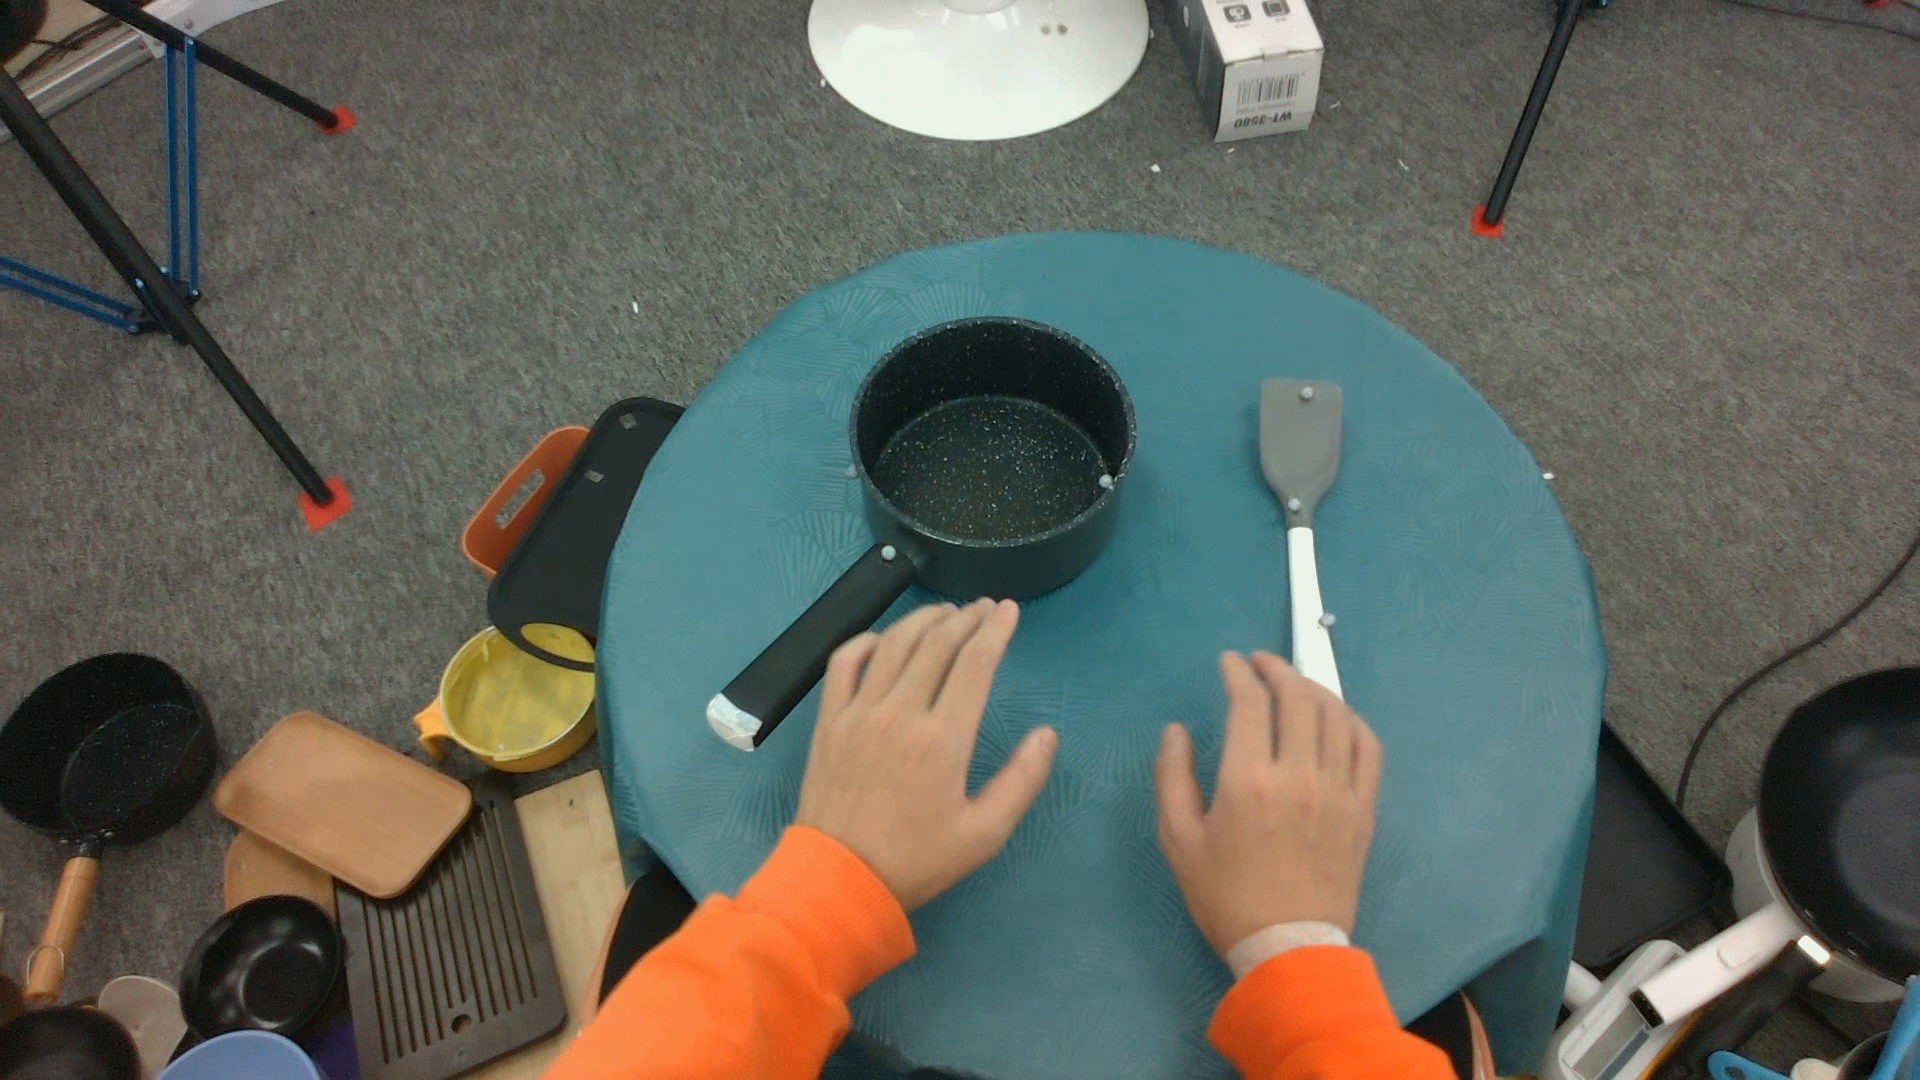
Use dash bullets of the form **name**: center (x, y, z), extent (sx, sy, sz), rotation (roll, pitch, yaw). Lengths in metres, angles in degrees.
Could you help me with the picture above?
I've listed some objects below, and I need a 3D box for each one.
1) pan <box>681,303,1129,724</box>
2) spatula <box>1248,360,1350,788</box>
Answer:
- **pan**: center (-0.033, -0.004, 0.804), extent (0.172, 0.086, 0.330), rotation (32, 61, 20)
- **spatula**: center (0.206, 0.009, 0.827), extent (0.058, 0.032, 0.289), rotation (1, 58, 6)
